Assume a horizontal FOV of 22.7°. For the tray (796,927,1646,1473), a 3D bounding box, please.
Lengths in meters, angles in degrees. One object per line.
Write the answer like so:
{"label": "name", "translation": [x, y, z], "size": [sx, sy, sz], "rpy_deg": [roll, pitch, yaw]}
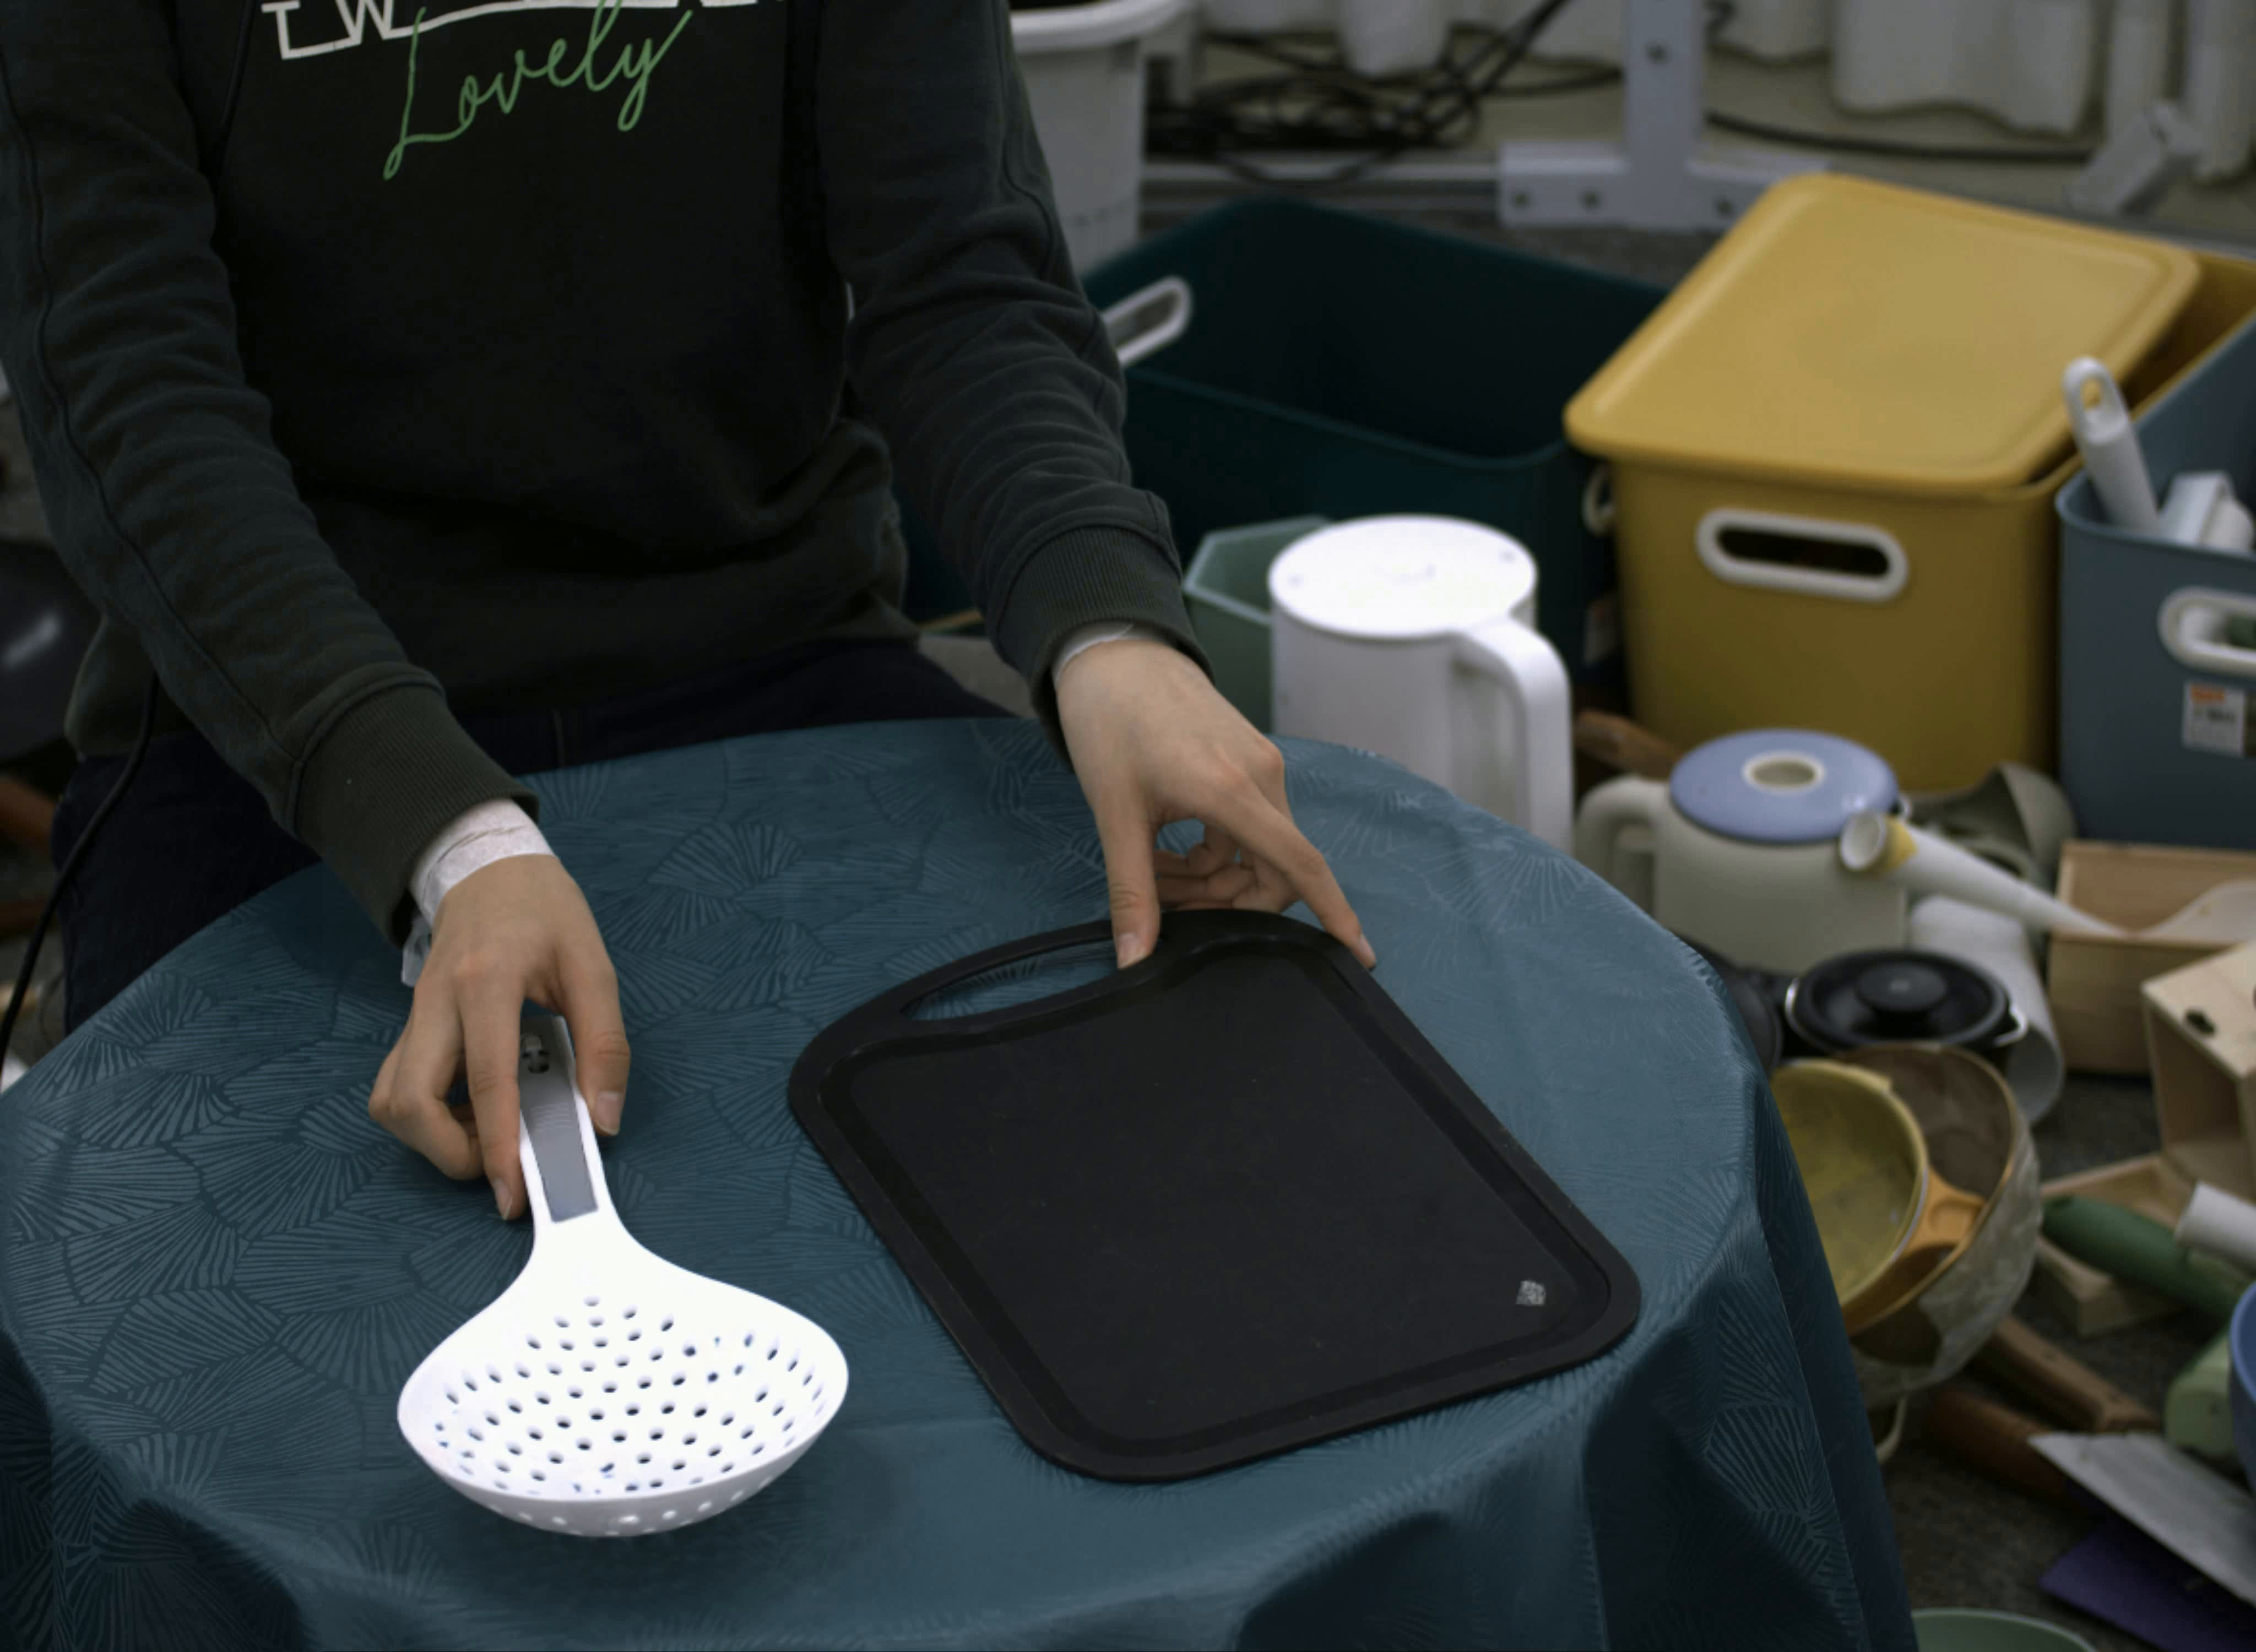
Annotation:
{"label": "tray", "translation": [0.020, 0.114, 1.863], "size": [0.212, 0.009, 0.328], "rpy_deg": [-13, 29, -18]}

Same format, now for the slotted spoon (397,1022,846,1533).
{"label": "slotted spoon", "translation": [-0.174, 0.138, 1.798], "size": [0.136, 0.045, 0.354], "rpy_deg": [-5, 26, -10]}
